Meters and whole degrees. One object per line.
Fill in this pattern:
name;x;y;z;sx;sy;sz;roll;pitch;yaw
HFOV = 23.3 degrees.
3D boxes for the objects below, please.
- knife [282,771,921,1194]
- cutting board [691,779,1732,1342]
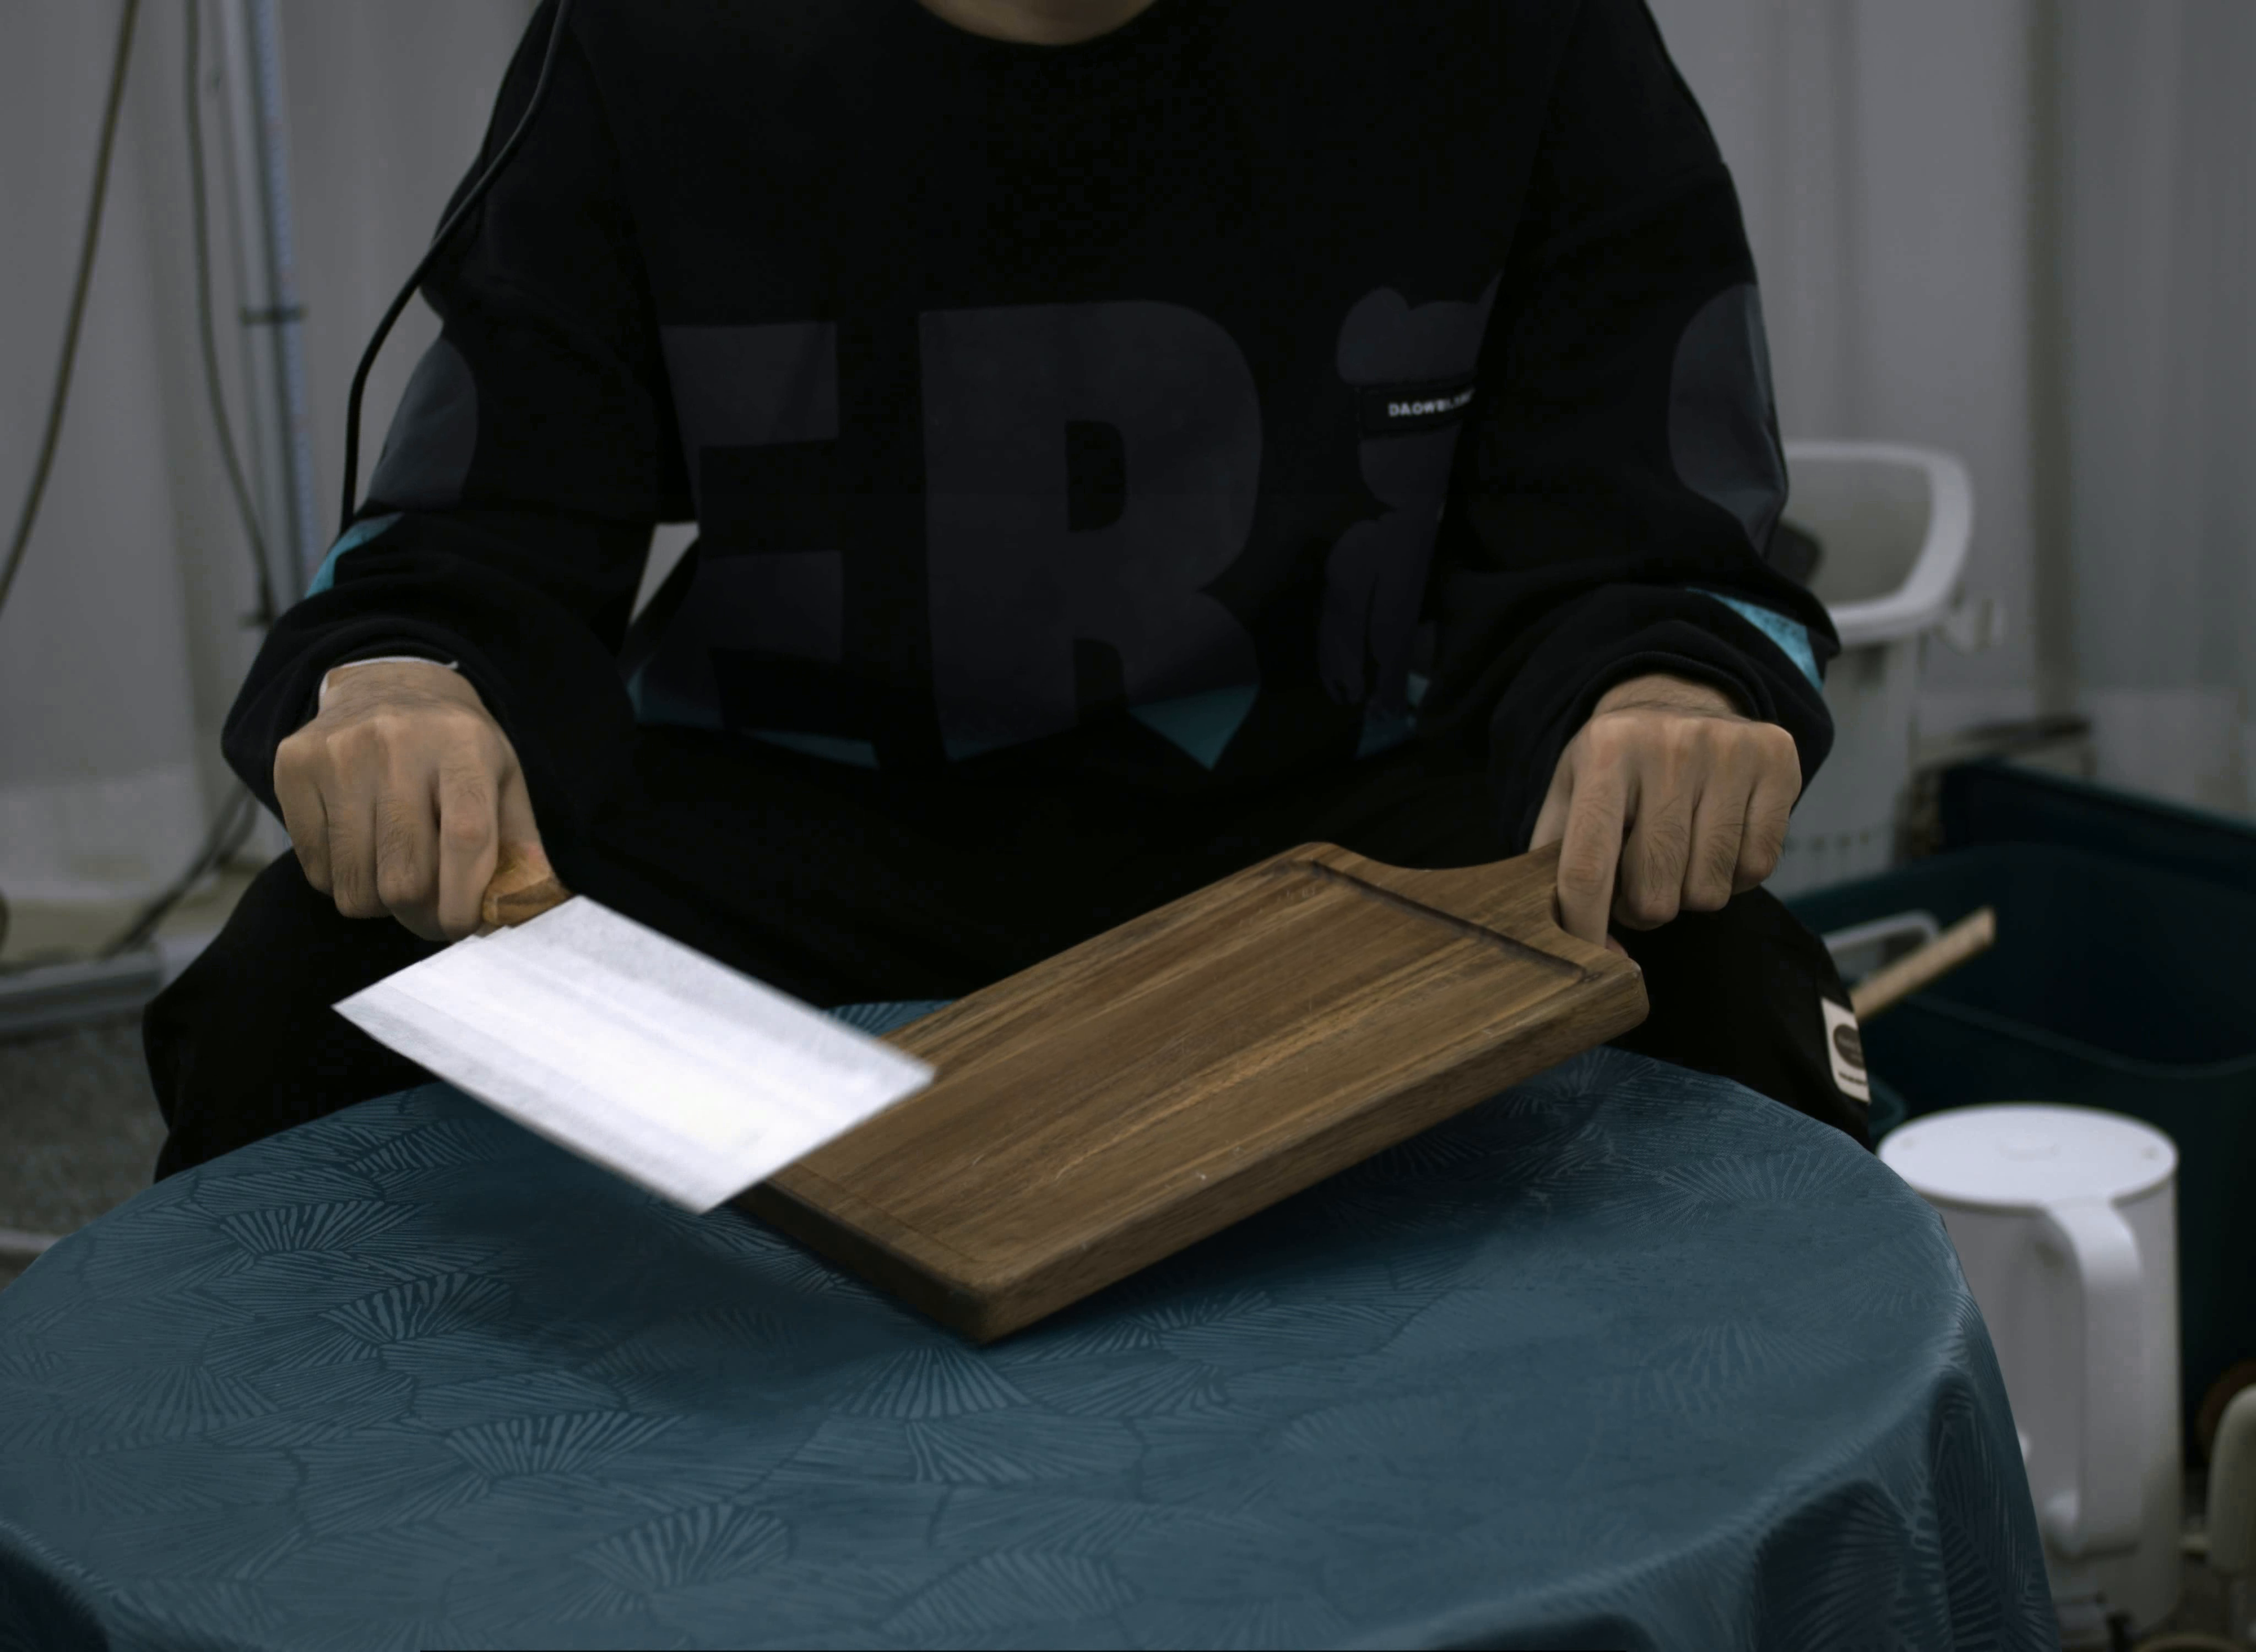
knife;-0.187;0.049;1.679;0.093;0.021;0.308;-27;34;-32
cutting board;0.051;0.060;1.734;0.352;0.023;0.202;-24;23;-25
